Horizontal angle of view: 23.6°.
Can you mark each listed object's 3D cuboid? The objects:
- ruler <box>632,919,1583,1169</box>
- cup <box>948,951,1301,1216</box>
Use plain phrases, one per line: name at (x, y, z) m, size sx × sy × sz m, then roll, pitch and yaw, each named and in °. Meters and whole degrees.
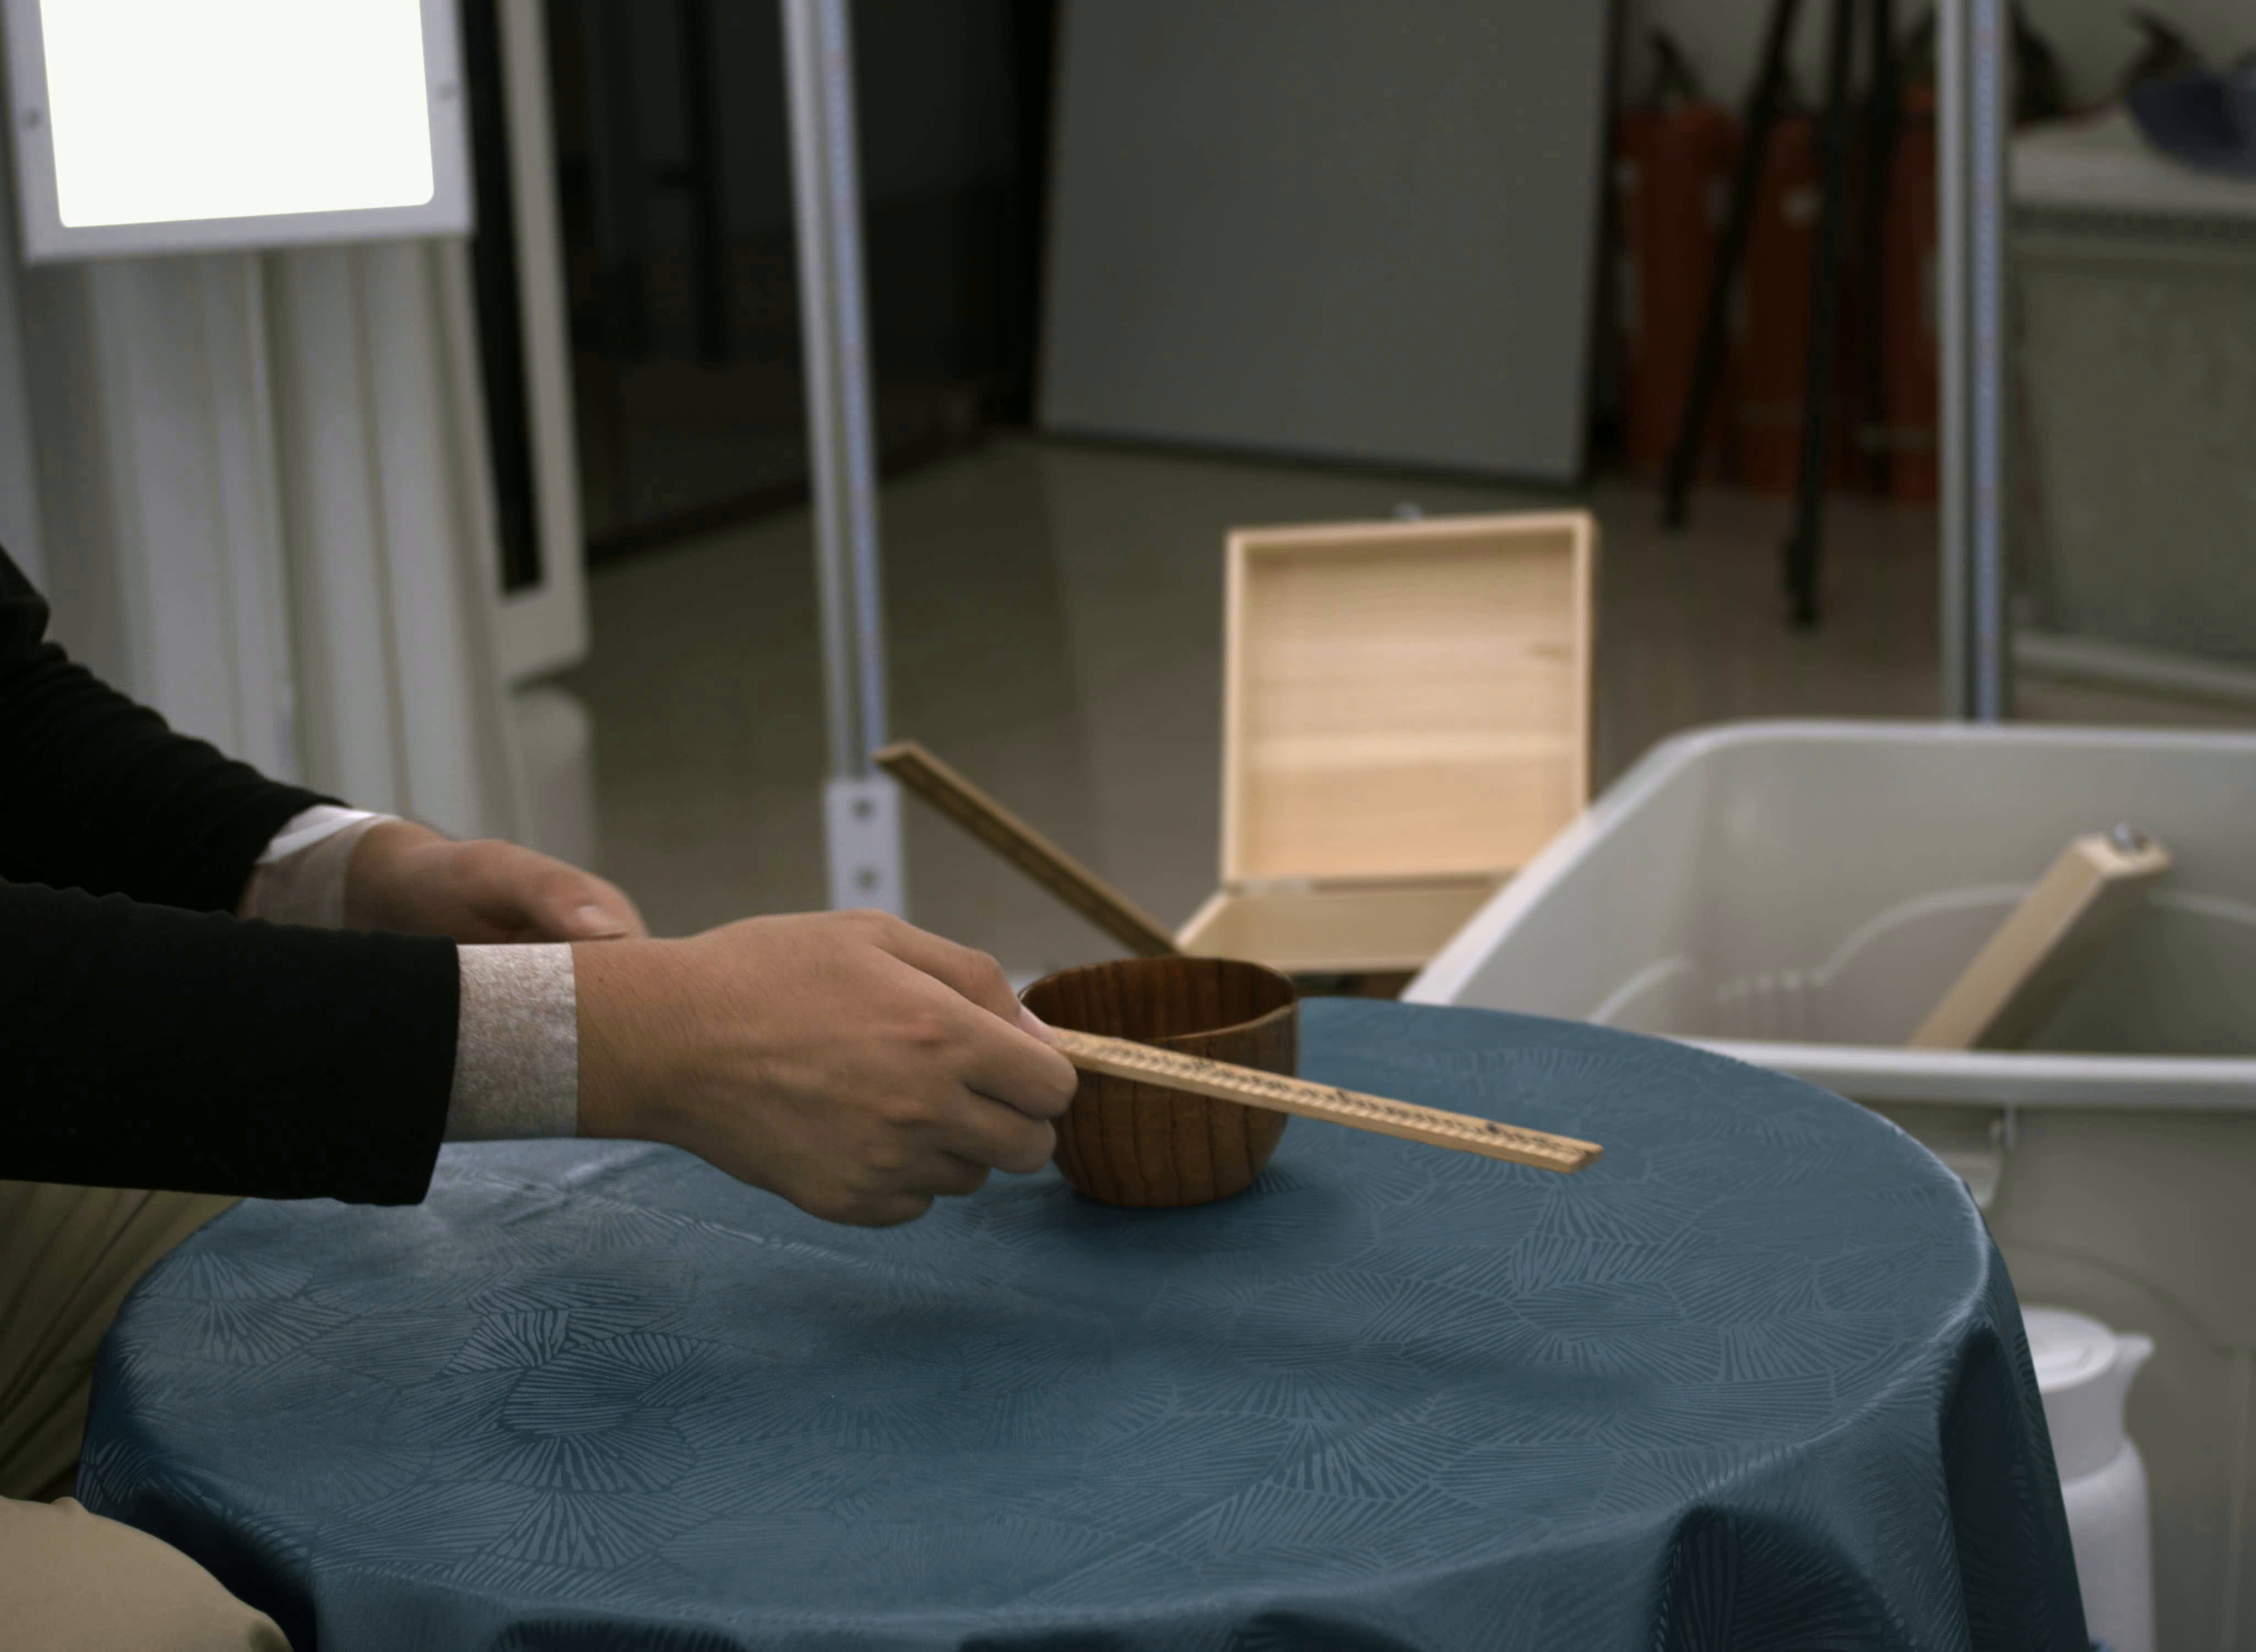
ruler at (-0.012, 0.064, 1.663) m, size 0.333 × 0.022 × 0.027 m, roll 12°, pitch 10°, yaw 30°
cup at (0.000, 0.086, 1.775) m, size 0.119 × 0.068 × 0.095 m, roll -2°, pitch 16°, yaw 14°
